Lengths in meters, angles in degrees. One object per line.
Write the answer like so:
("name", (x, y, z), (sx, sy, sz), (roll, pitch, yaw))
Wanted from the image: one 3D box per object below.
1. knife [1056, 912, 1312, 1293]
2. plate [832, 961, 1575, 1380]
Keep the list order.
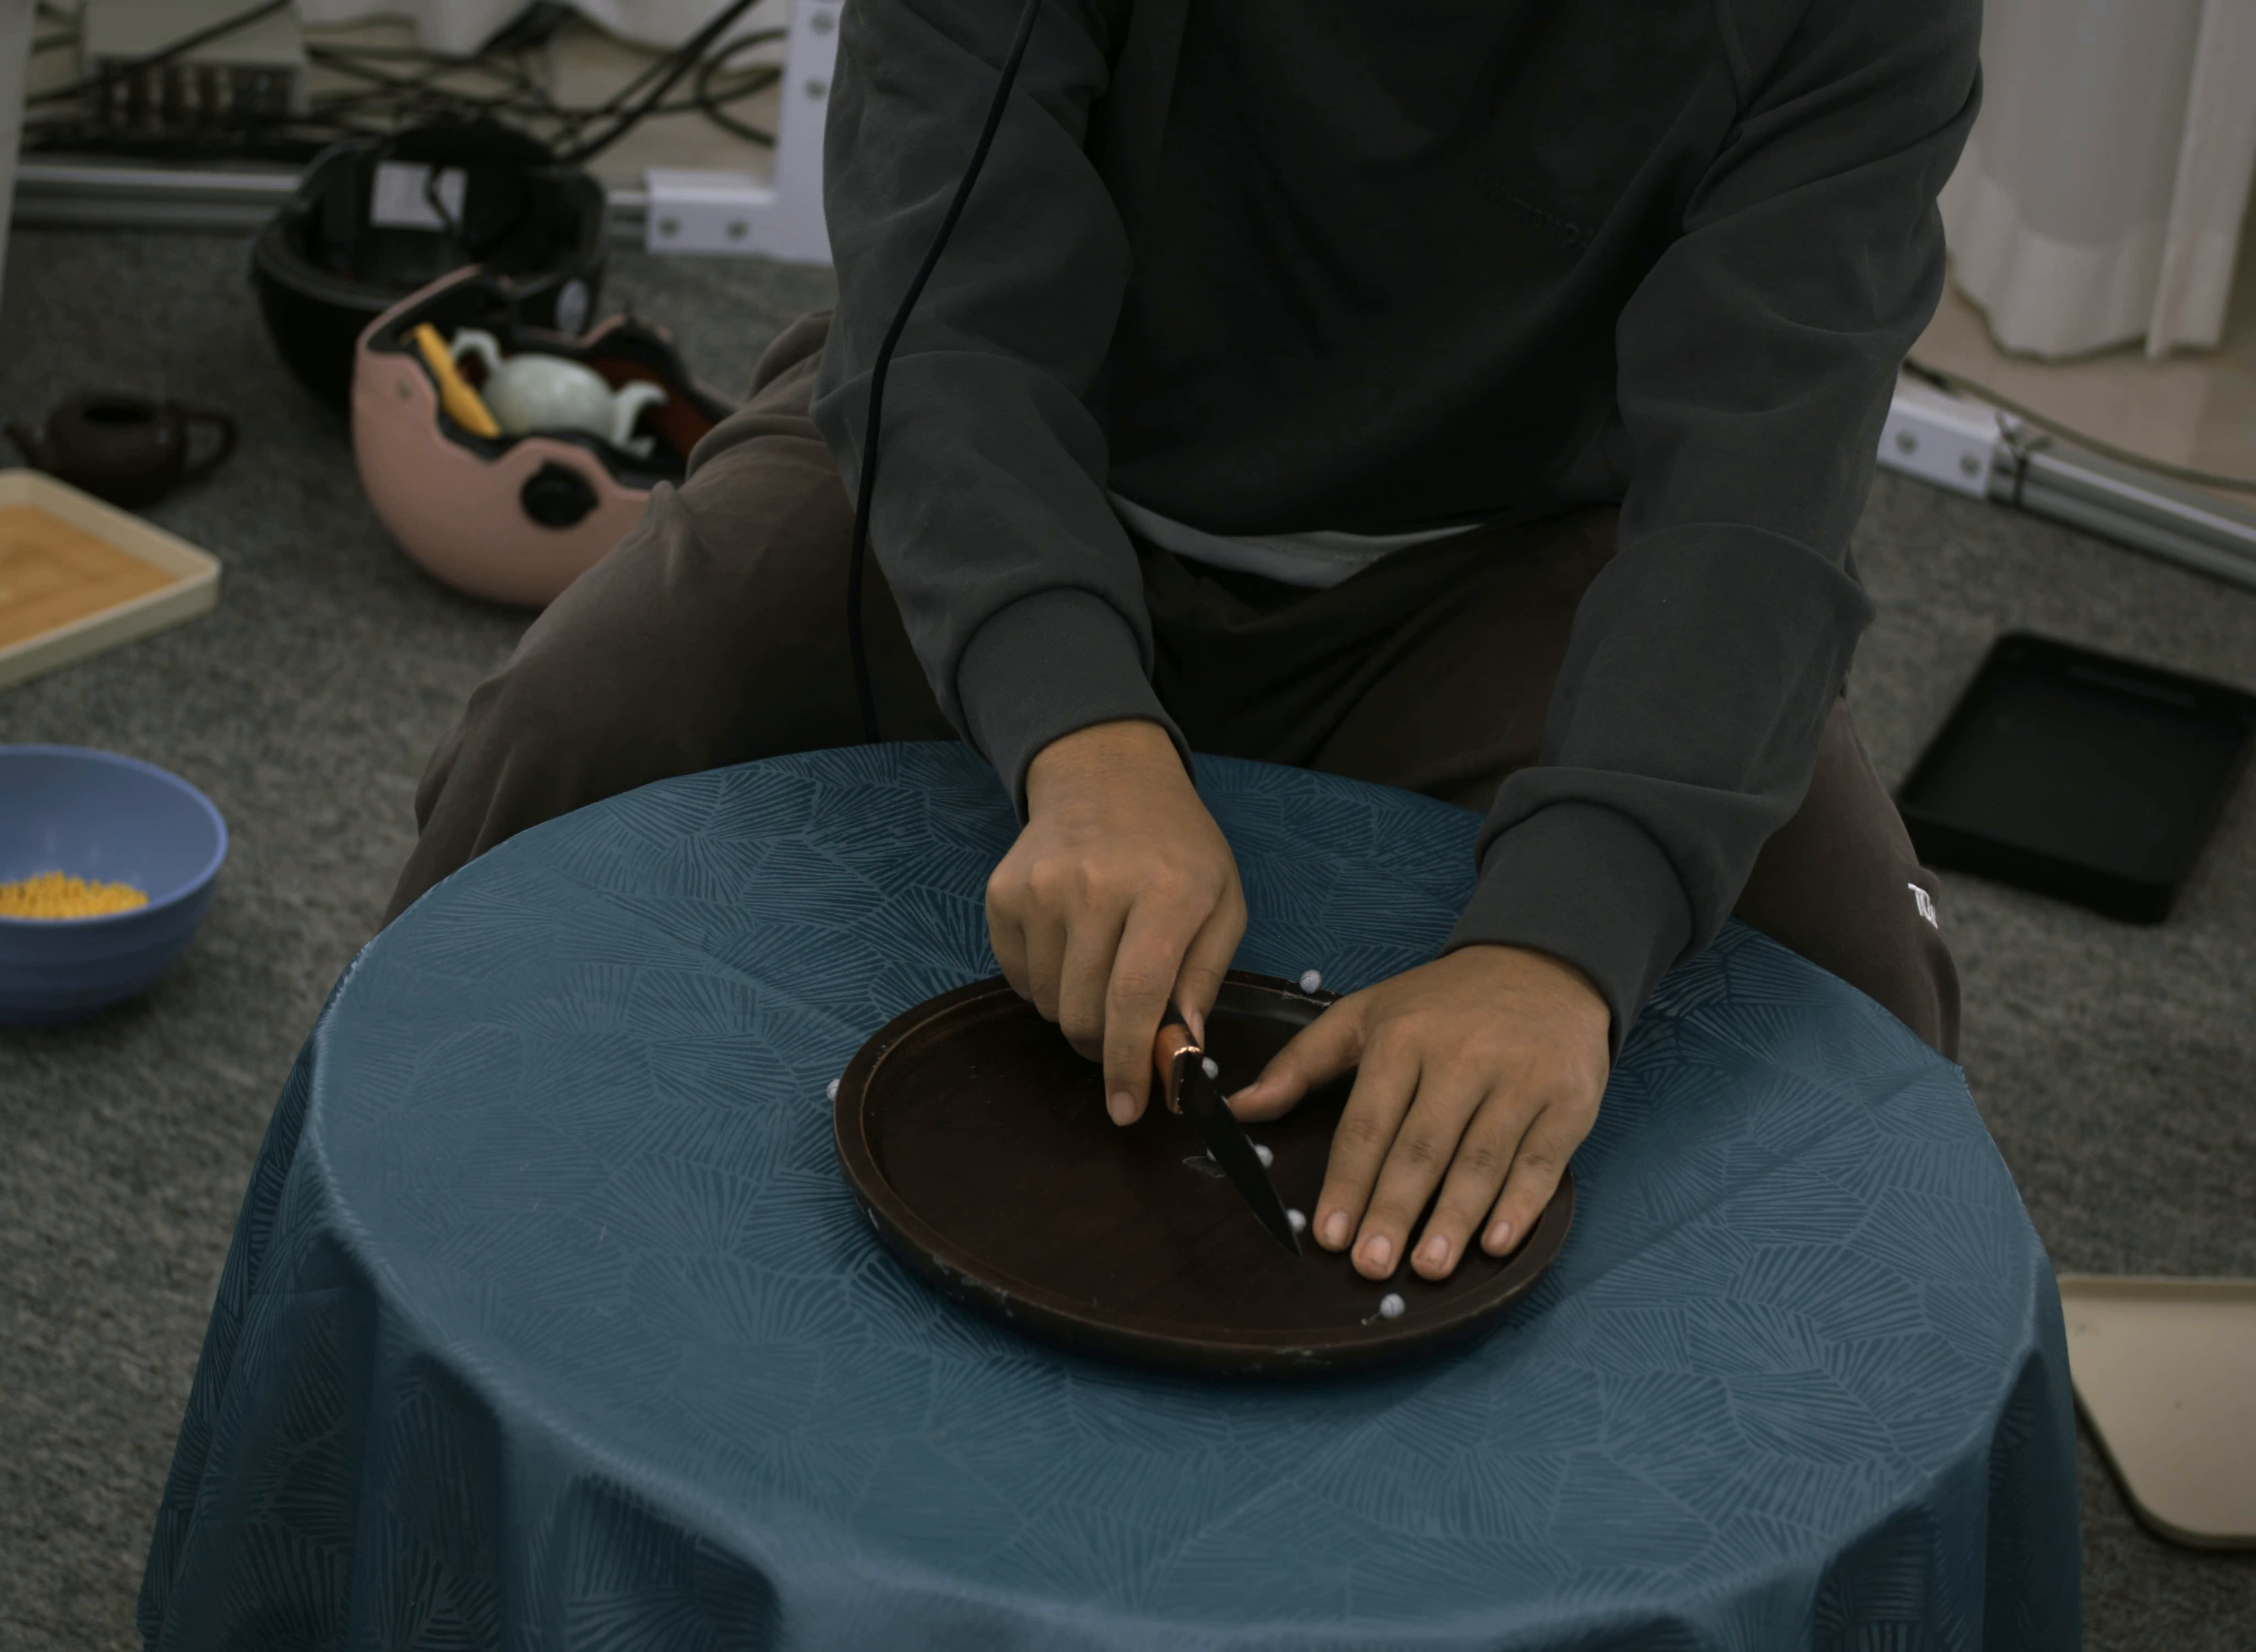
("knife", (0.019, 0.090, 1.791), (0.017, 0.026, 0.227), (-5, 30, -21))
("plate", (0.025, 0.115, 1.804), (0.254, 0.029, 0.256), (5, 26, -3))
